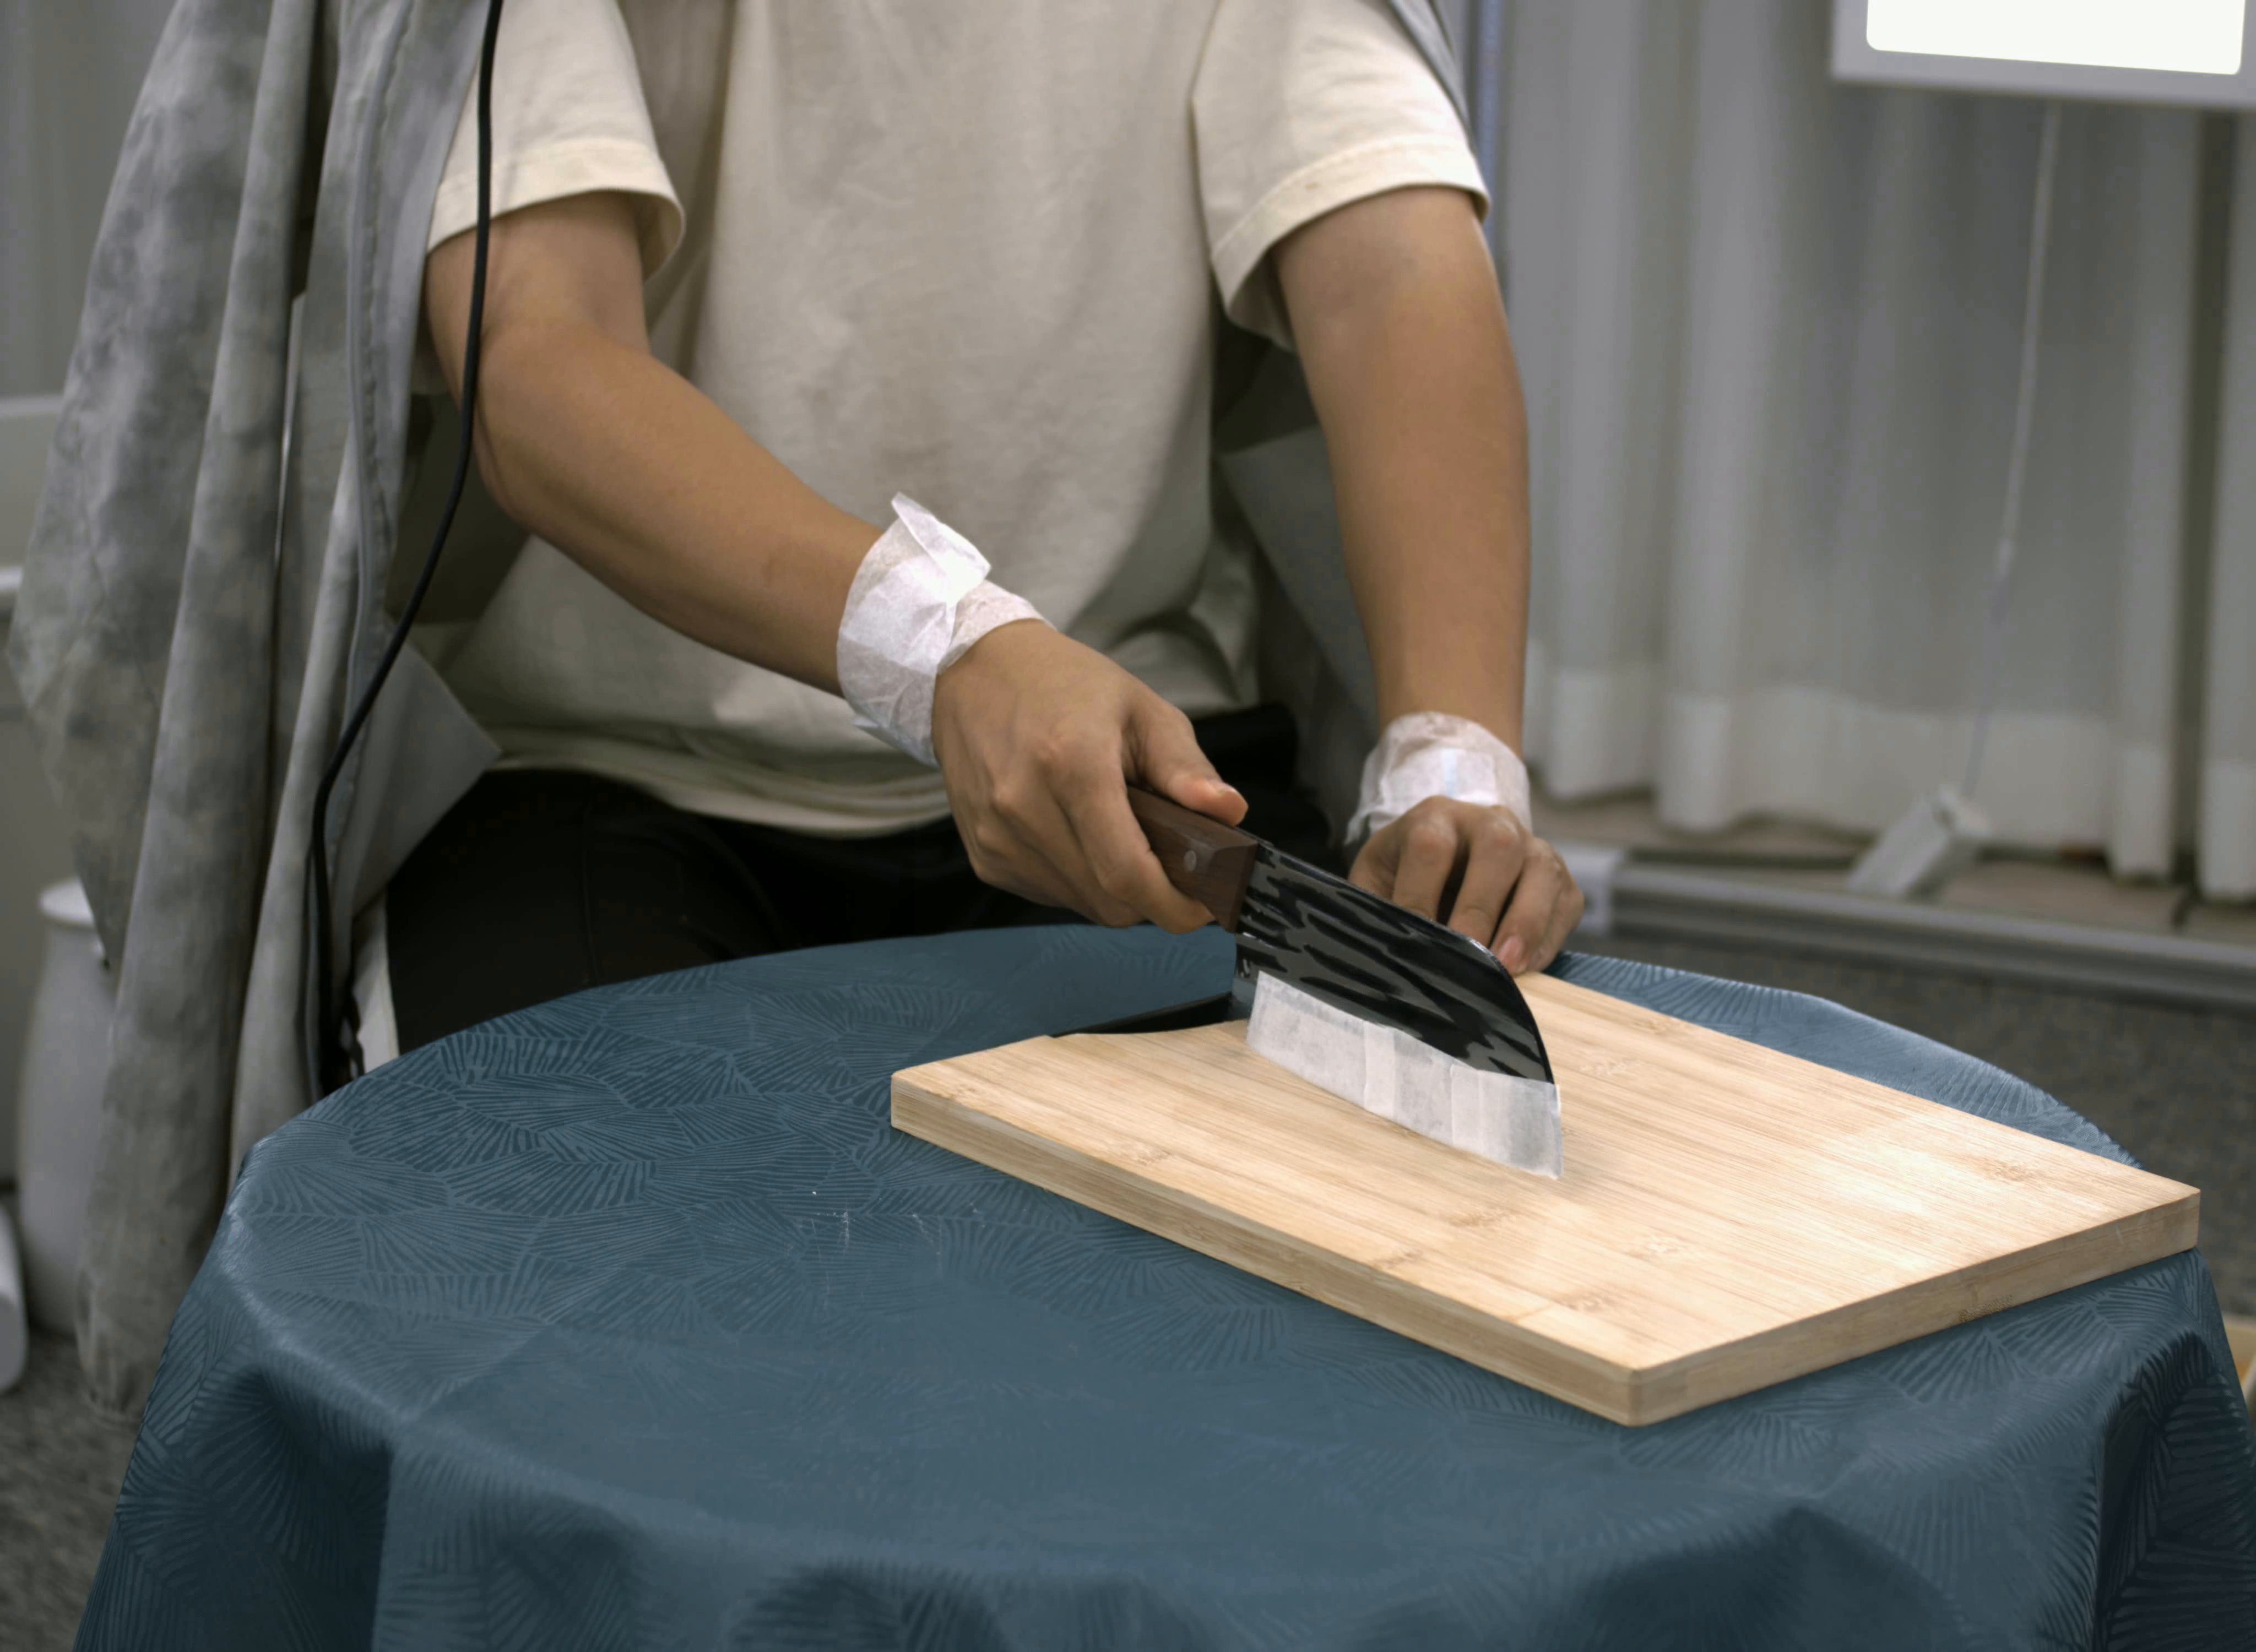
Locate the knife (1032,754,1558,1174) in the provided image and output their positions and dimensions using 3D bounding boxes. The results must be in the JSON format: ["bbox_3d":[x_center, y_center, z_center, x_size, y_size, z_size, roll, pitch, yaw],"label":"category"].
[{"bbox_3d":[0.051,0.041,1.681,0.024,0.068,0.295,-1,17,-34],"label":"knife"}]

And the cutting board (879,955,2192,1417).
[{"bbox_3d":[0.120,0.102,1.638,0.252,0.024,0.344,-12,20,-40],"label":"cutting board"}]
